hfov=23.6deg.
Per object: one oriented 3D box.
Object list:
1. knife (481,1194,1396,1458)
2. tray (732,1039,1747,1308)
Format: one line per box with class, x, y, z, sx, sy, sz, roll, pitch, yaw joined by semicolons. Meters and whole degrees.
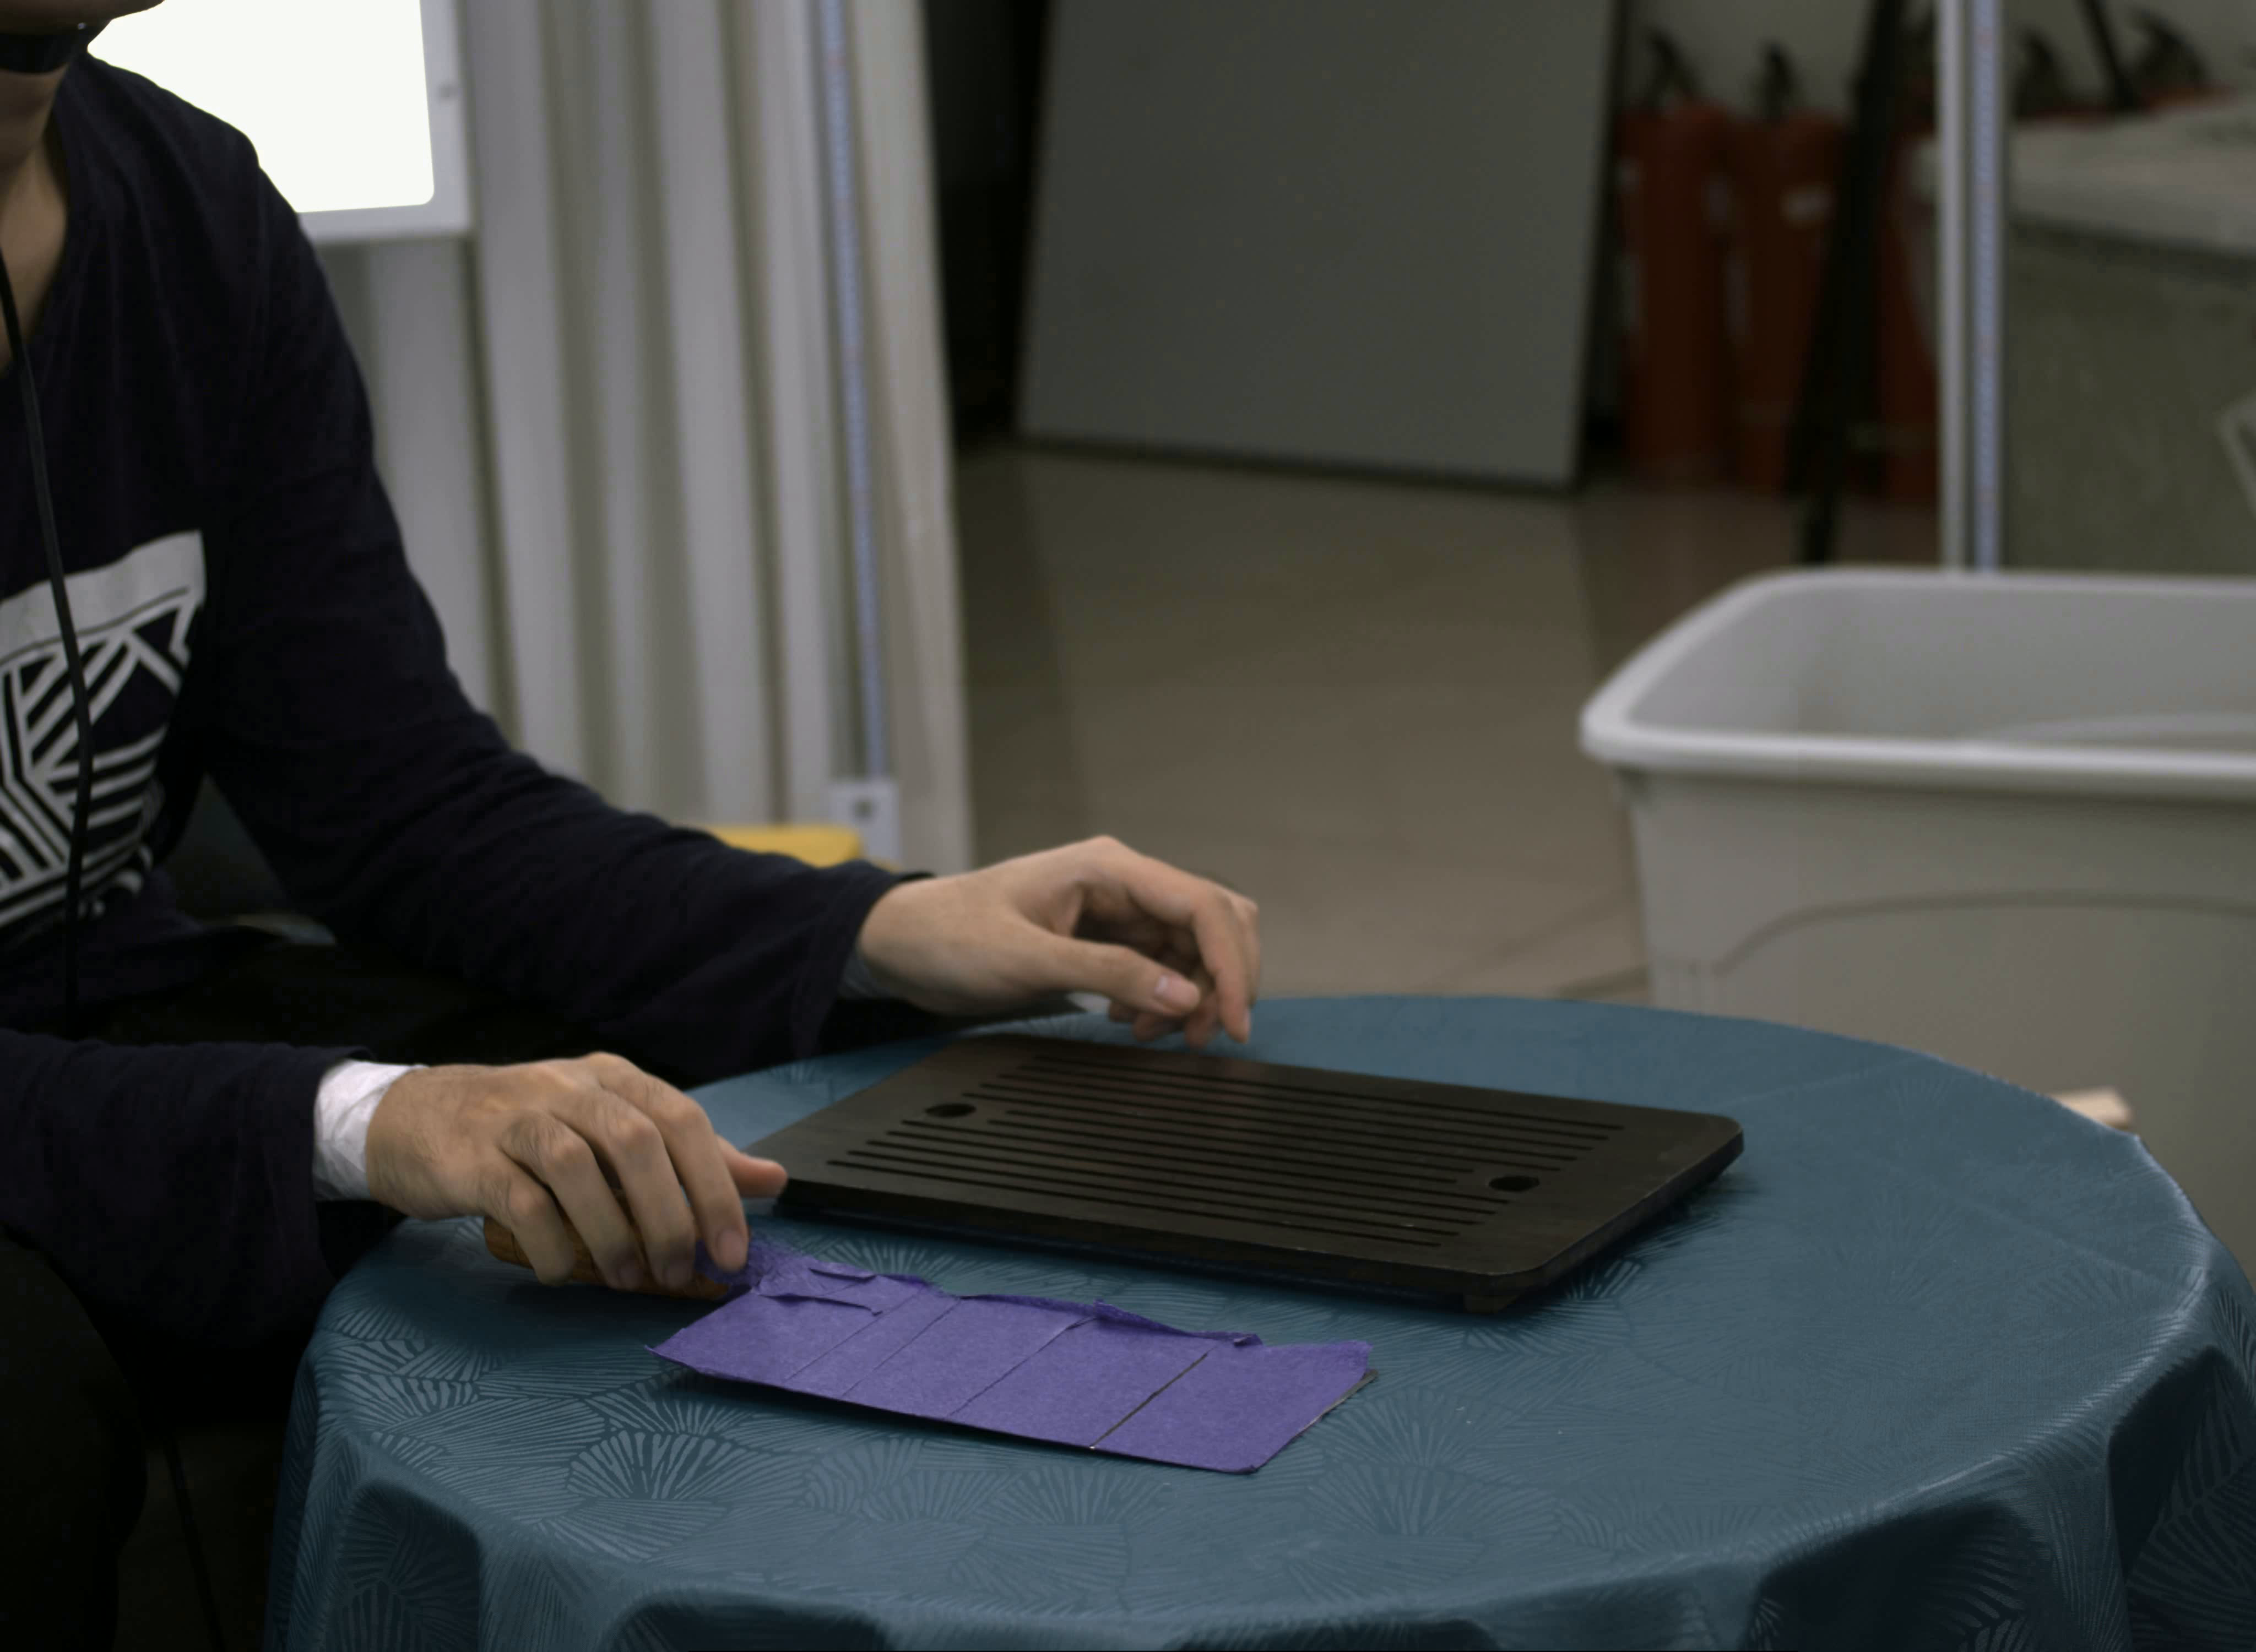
knife;-0.078;0.149;1.624;0.316;0.032;0.102;4;15;30
tray;0.036;0.111;1.767;0.307;0.019;0.167;4;16;33
